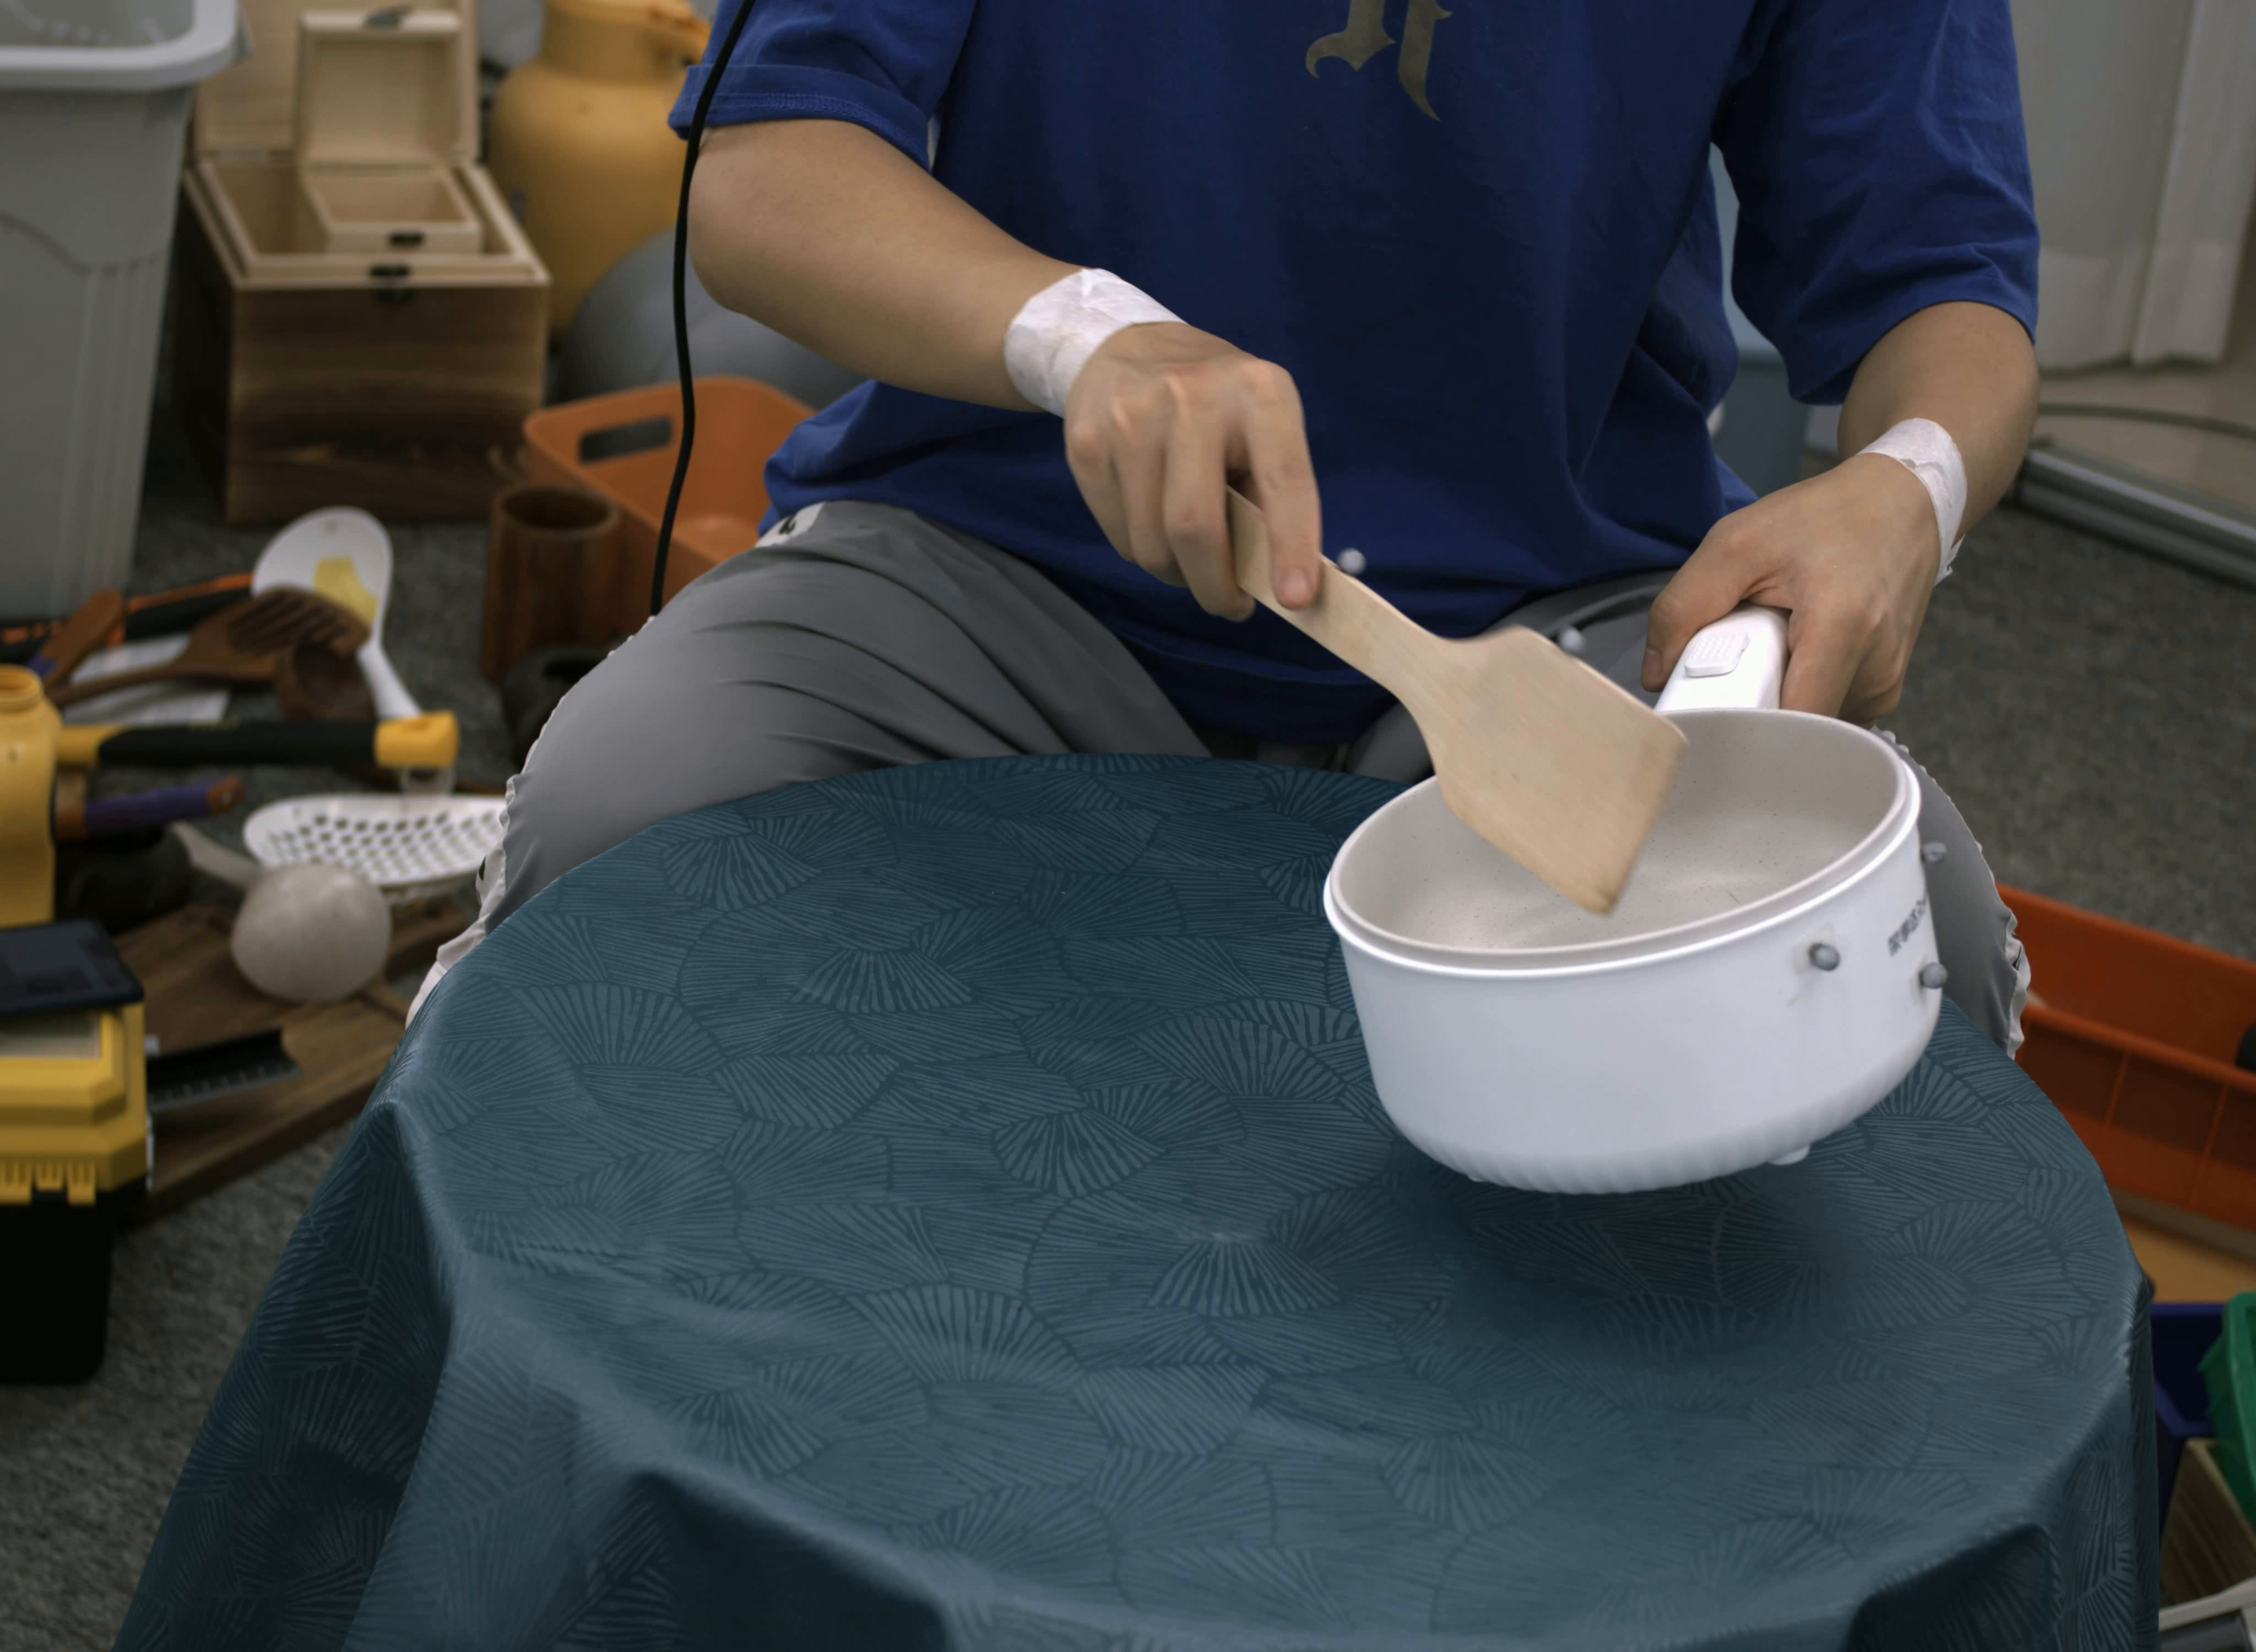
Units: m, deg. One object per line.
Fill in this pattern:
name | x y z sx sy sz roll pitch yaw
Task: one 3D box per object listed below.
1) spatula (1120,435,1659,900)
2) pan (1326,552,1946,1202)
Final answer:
spatula | 0.080 -0.070 1.837 0.010 0.072 0.295 7 22 -40
pan | 0.196 0.015 1.850 0.201 0.102 0.355 -7 22 22
